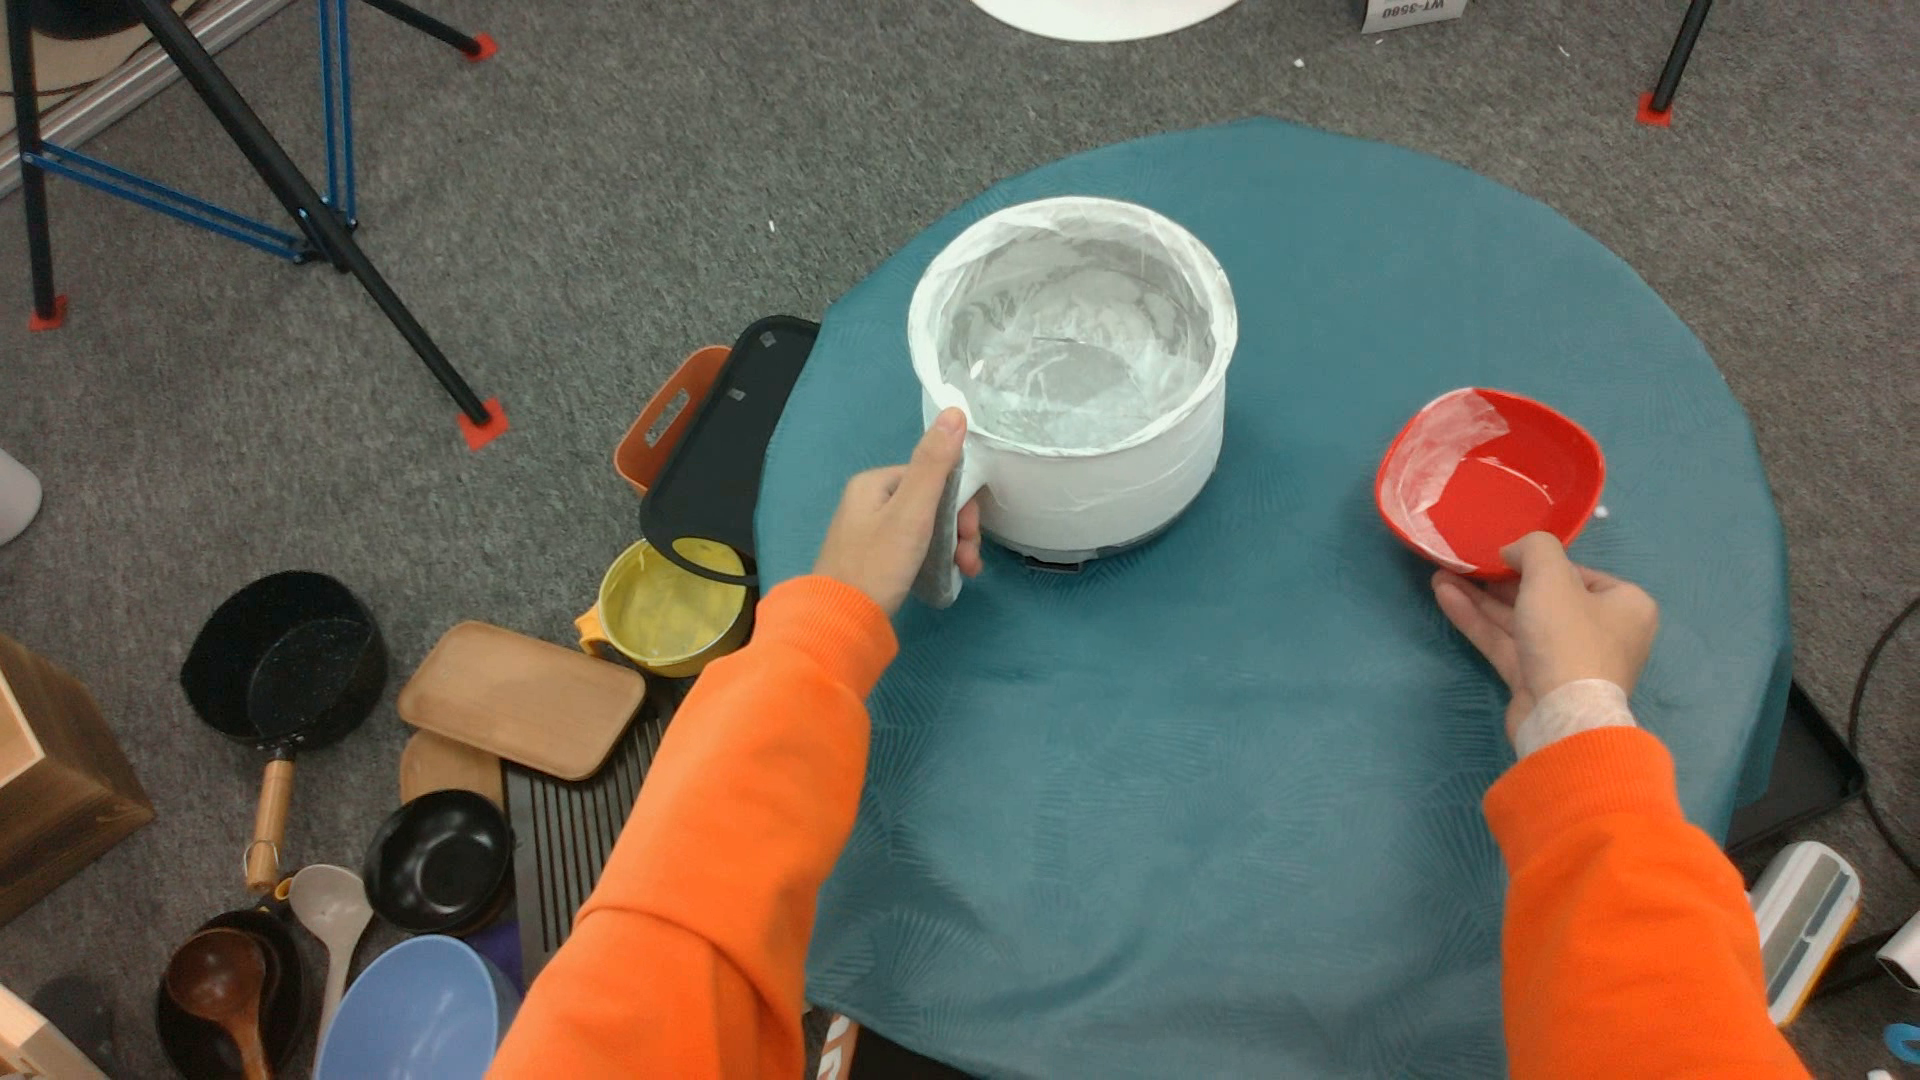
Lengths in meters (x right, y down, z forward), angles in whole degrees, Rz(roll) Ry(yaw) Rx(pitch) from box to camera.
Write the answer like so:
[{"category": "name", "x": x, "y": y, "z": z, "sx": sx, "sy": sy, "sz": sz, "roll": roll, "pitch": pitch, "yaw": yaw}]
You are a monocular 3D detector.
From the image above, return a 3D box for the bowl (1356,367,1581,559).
[{"category": "bowl", "x": 0.285, "y": -0.036, "z": 0.778, "sx": 0.119, "sy": 0.051, "sz": 0.119, "roll": -7, "pitch": 61, "yaw": 12}]

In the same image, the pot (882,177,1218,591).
[{"category": "pot", "x": 0.038, "y": -0.078, "z": 0.783, "sx": 0.179, "sy": 0.136, "sz": 0.234, "roll": 32, "pitch": 68, "yaw": 21}]
